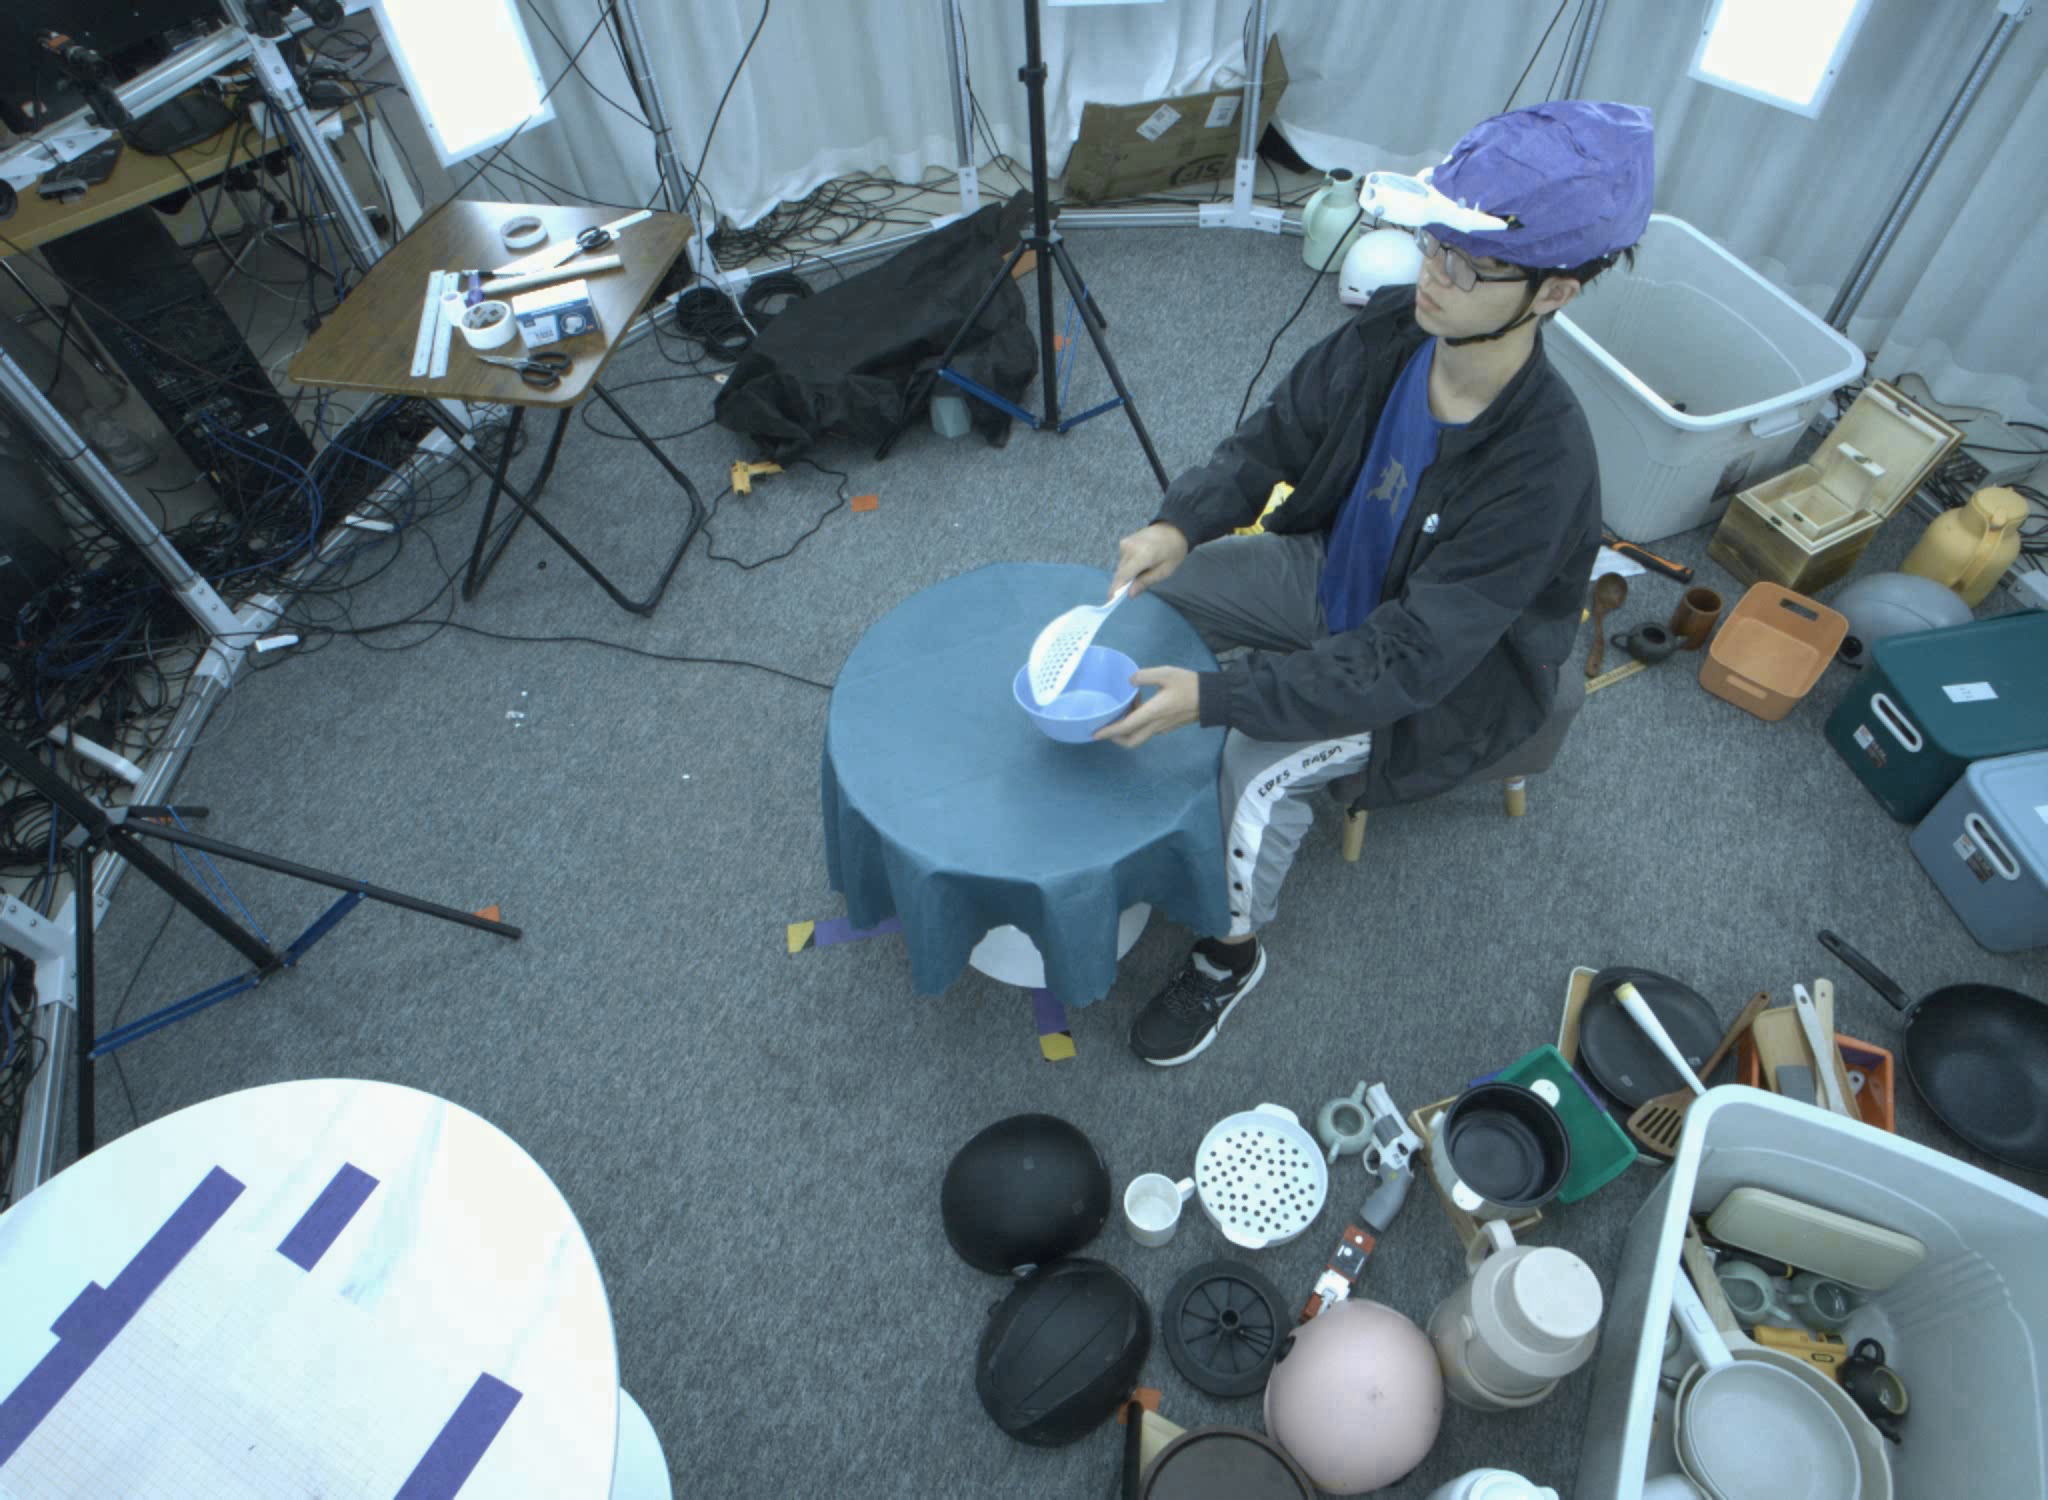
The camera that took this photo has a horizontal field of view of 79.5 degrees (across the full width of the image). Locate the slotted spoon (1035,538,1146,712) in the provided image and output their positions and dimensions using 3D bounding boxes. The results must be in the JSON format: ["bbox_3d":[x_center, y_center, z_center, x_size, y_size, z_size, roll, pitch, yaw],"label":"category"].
[{"bbox_3d":[0.102,-0.190,1.707,0.049,0.138,0.350,26,51,21],"label":"slotted spoon"}]

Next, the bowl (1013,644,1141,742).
[{"bbox_3d":[0.076,-0.071,1.707,0.175,0.071,0.174,-4,40,4],"label":"bowl"}]
